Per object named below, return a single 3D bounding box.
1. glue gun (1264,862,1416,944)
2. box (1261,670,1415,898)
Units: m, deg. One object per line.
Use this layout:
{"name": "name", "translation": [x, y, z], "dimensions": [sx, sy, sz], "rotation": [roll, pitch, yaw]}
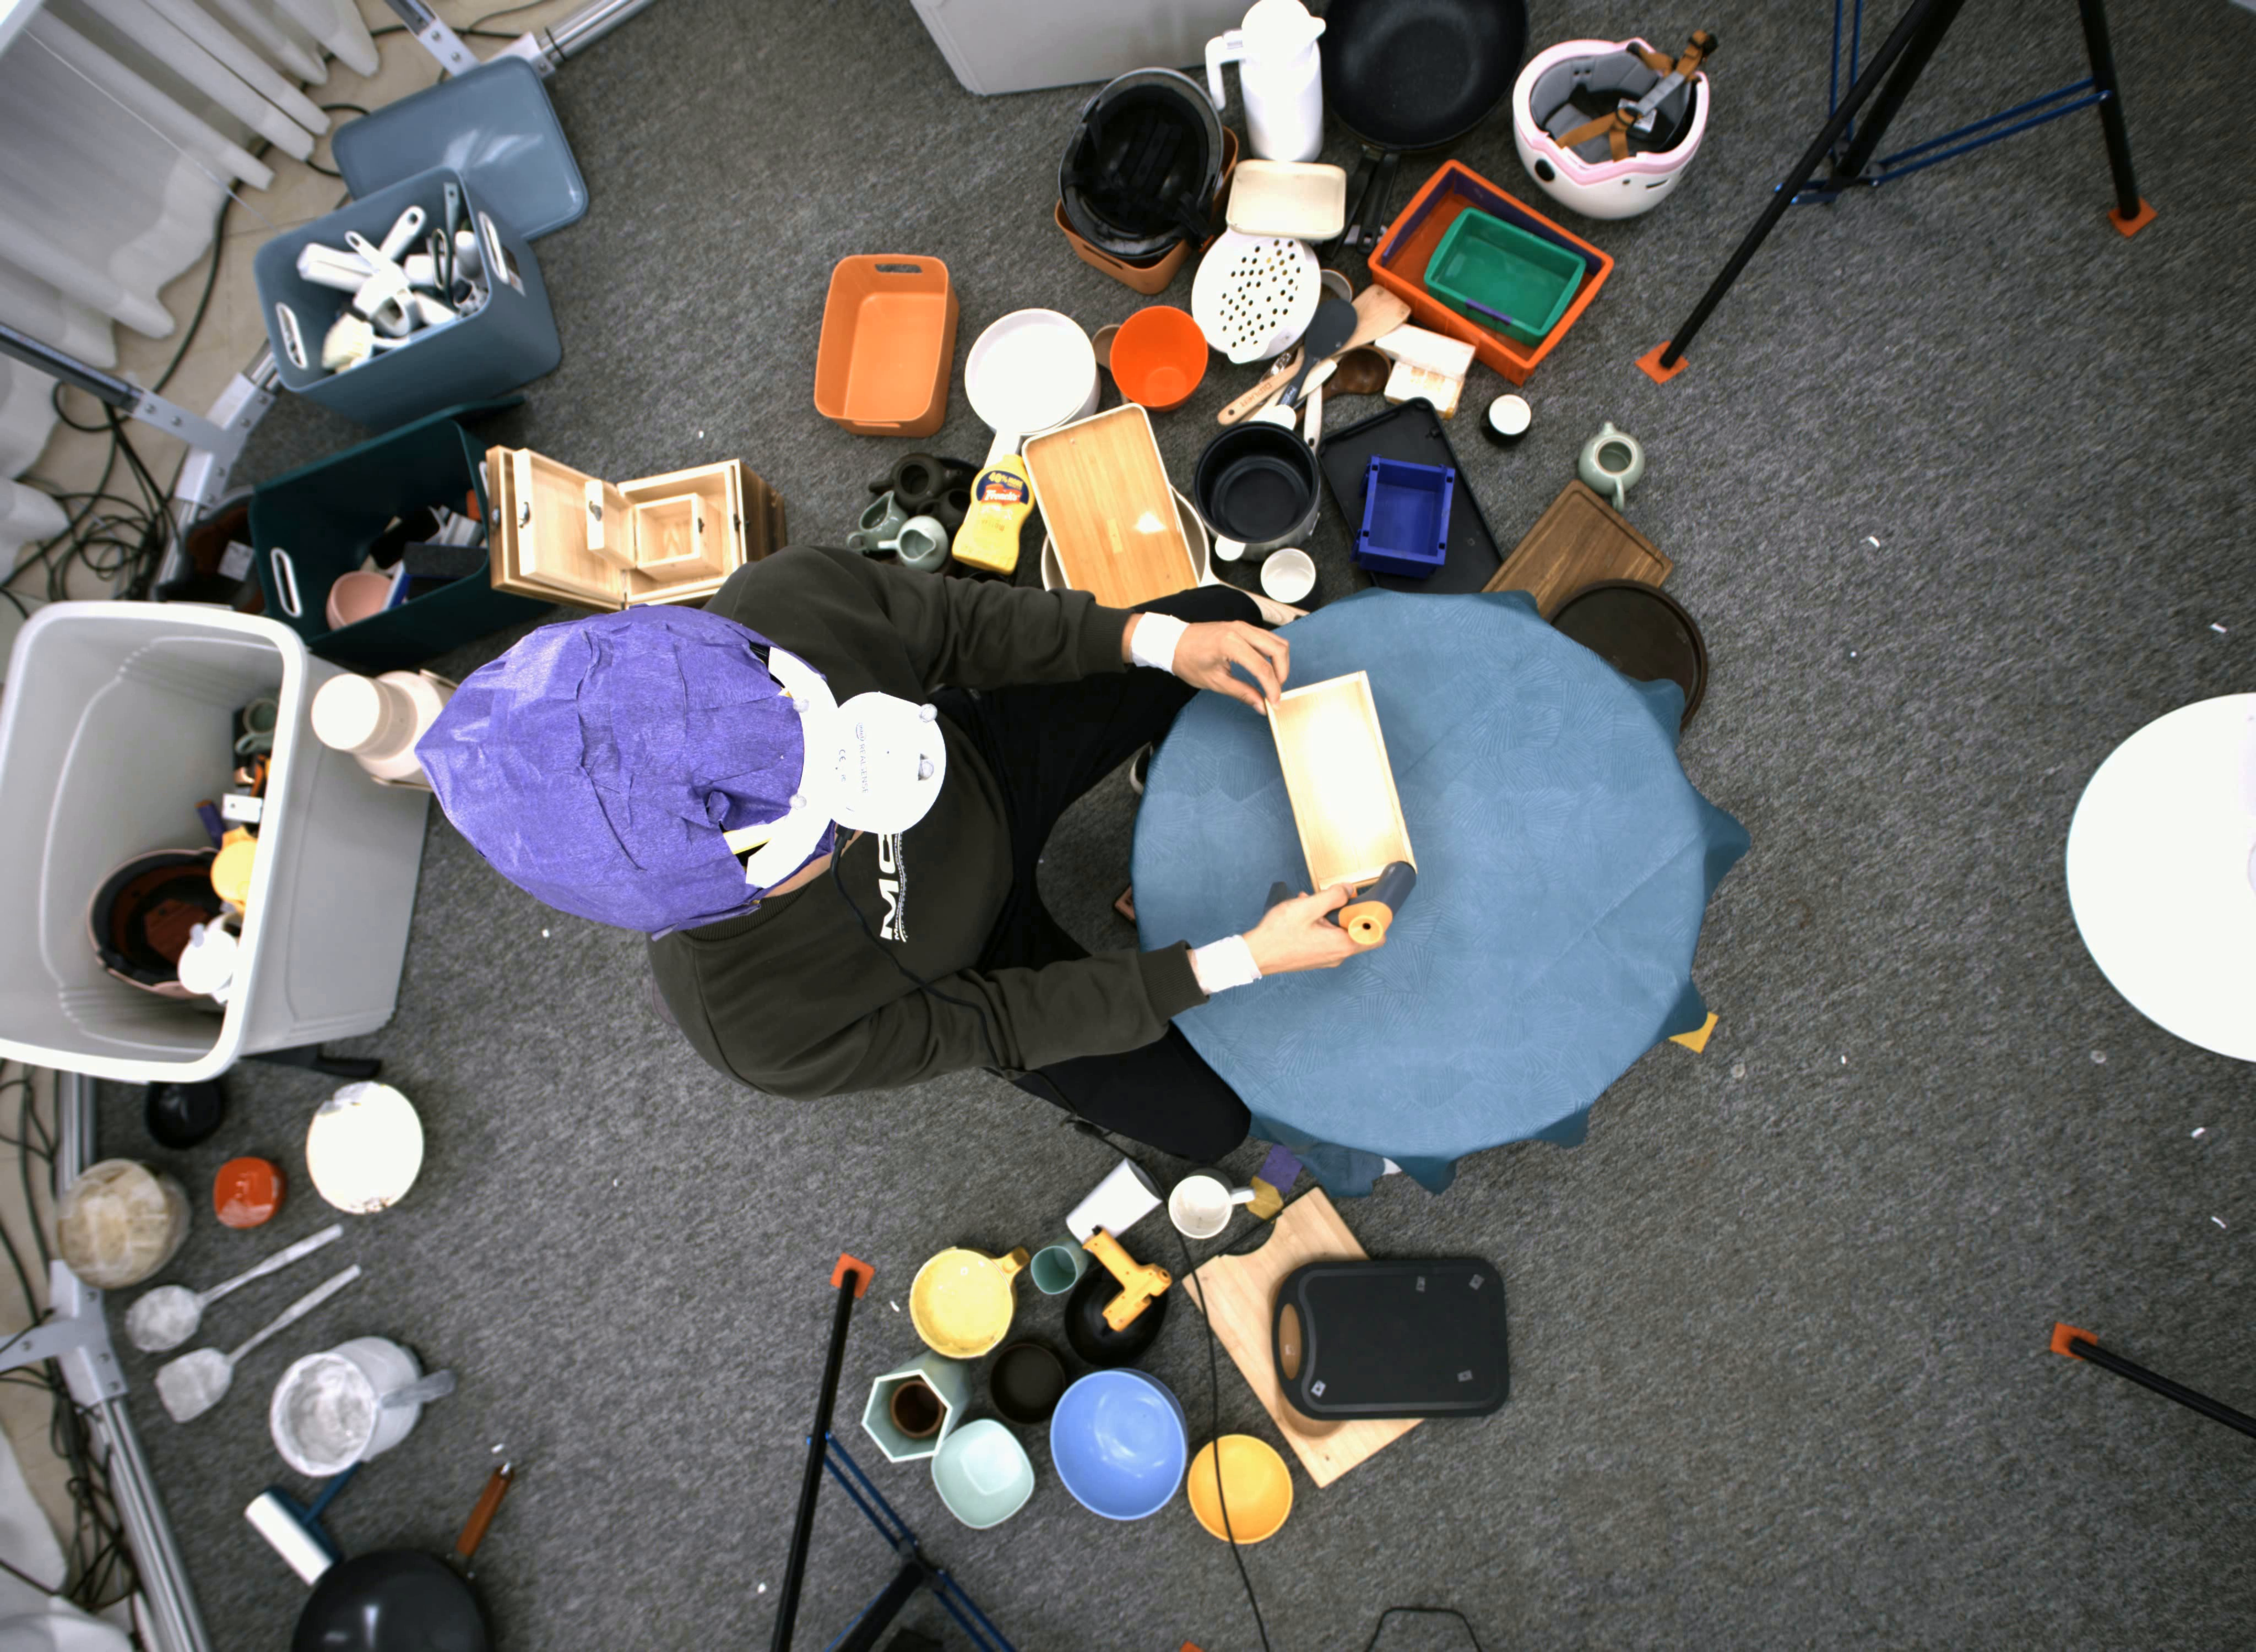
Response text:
{"name": "glue gun", "translation": [0.210, 0.074, 1.354], "dimensions": [0.141, 0.115, 0.041], "rotation": [-9, 114, 20]}
{"name": "box", "translation": [0.215, -0.045, 1.415], "dimensions": [0.108, 0.079, 0.212], "rotation": [-15, 96, 10]}
